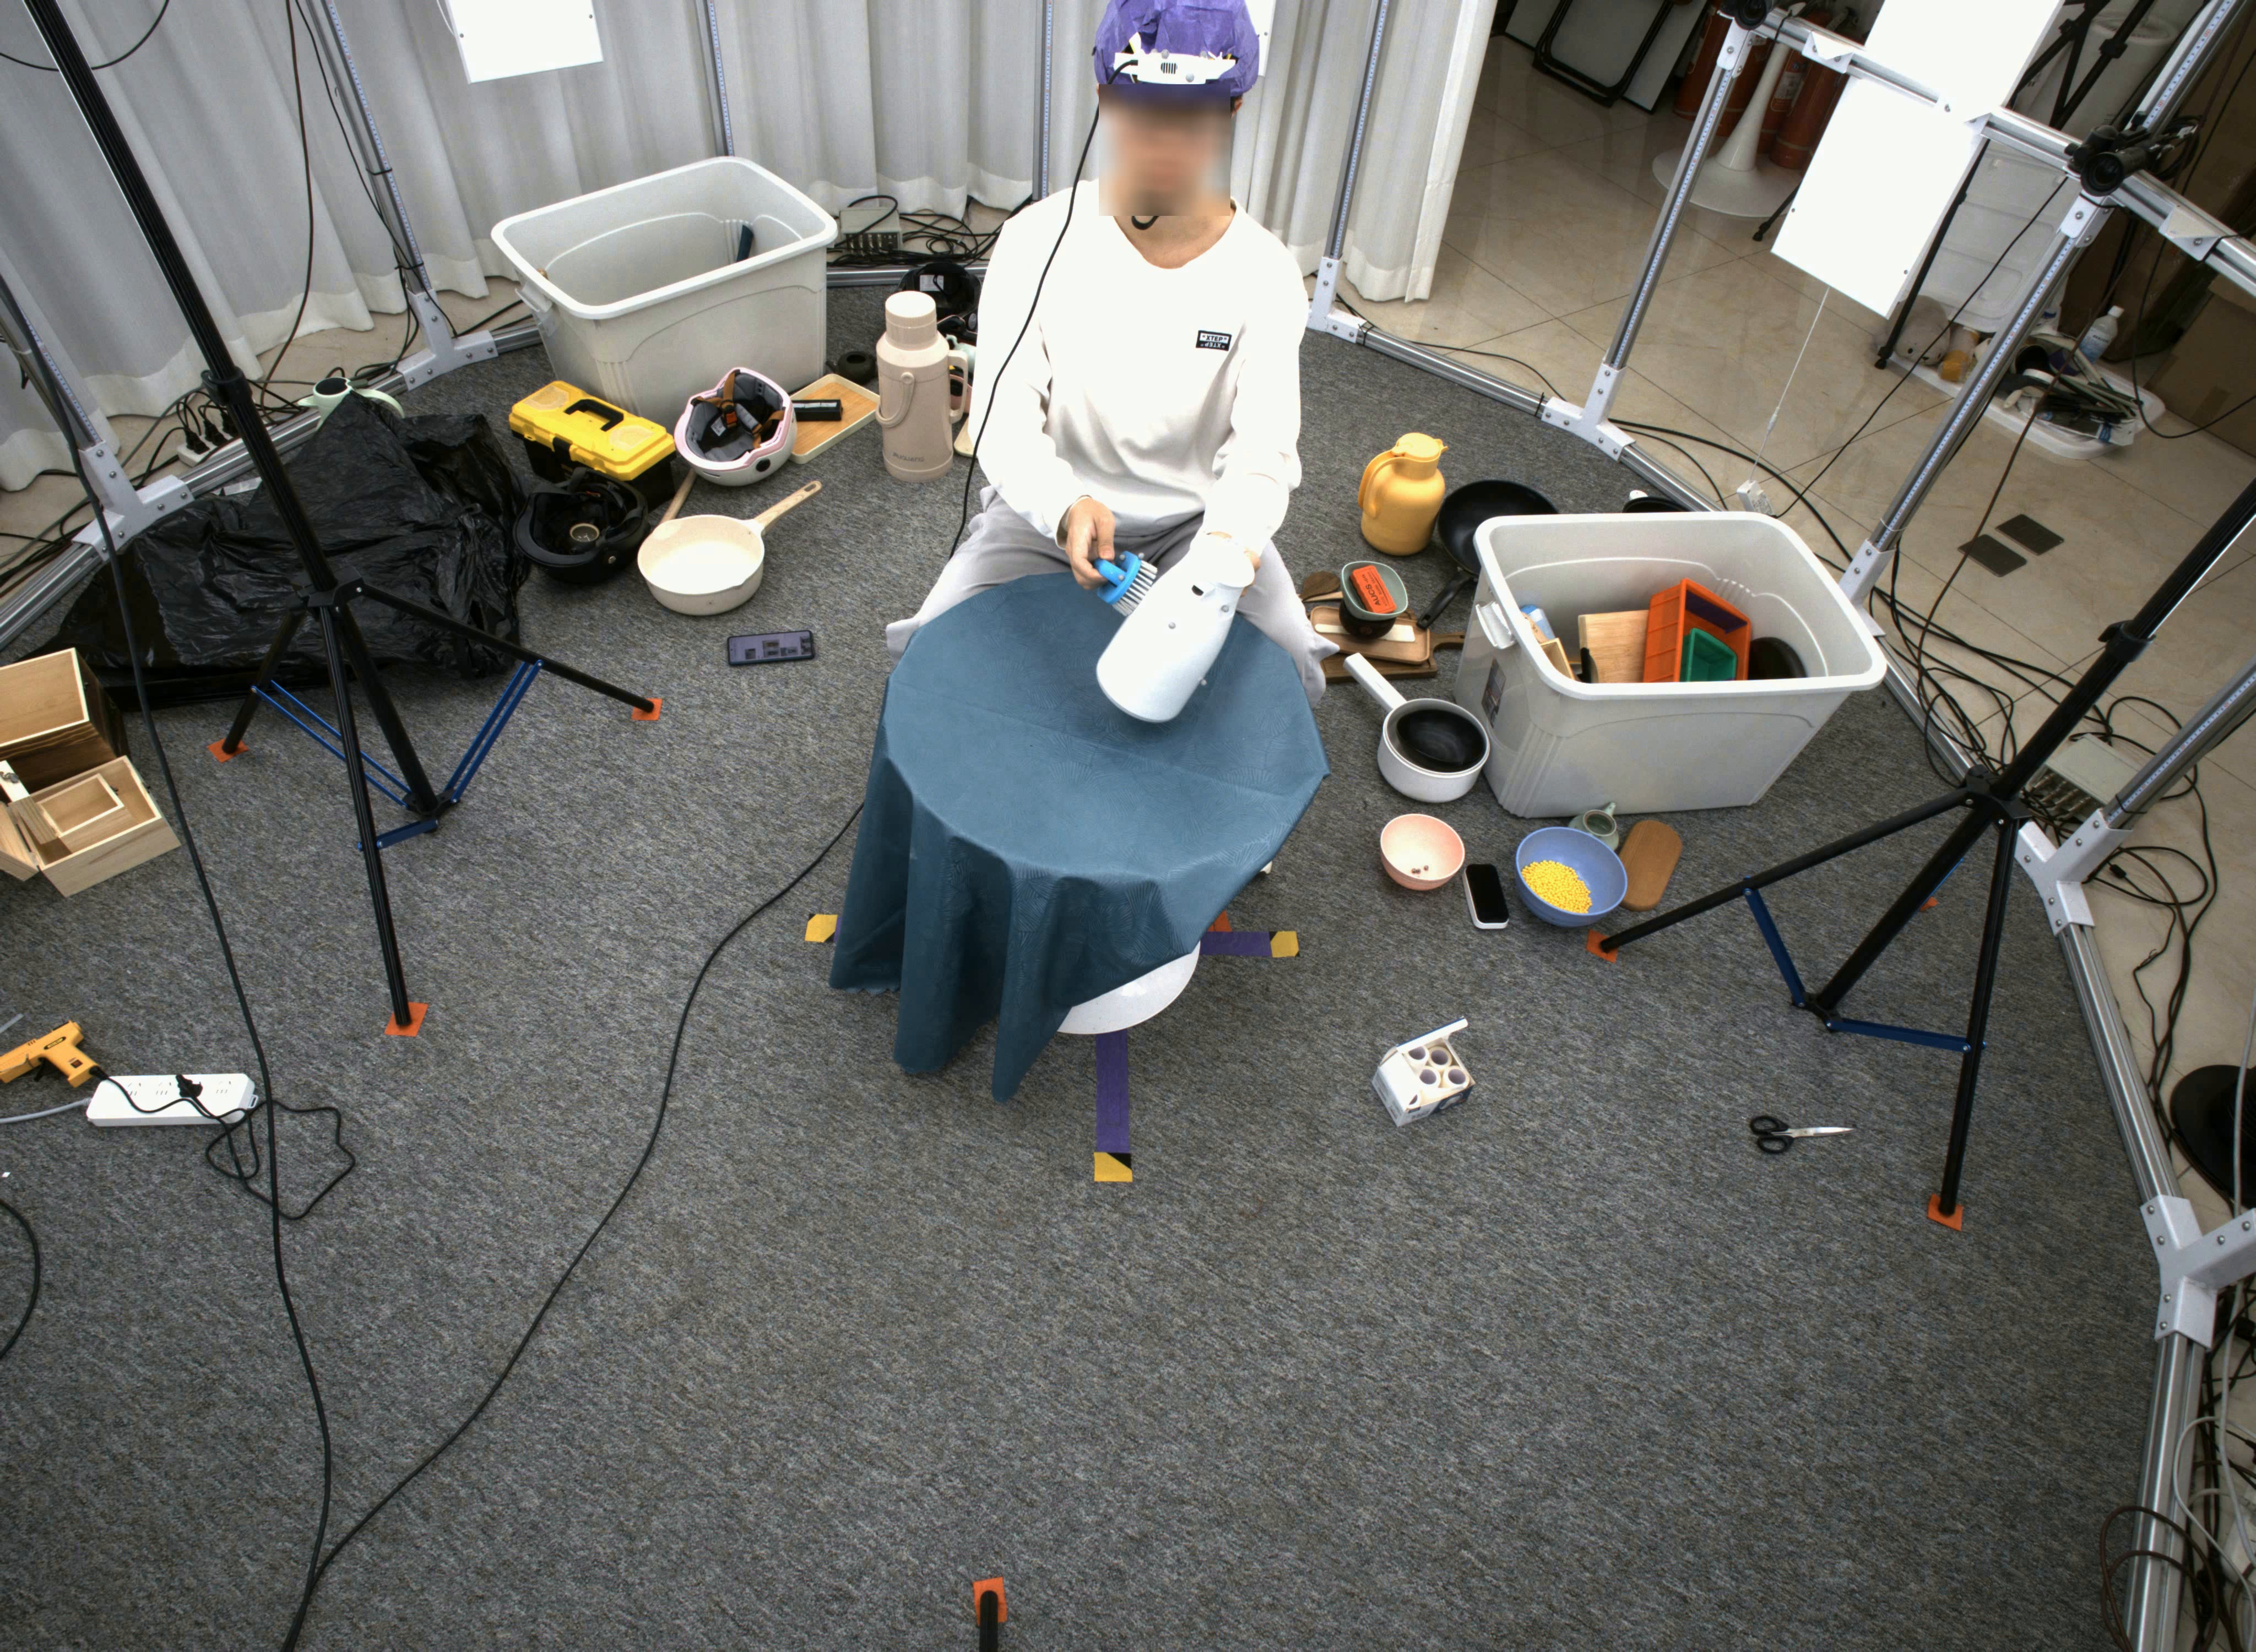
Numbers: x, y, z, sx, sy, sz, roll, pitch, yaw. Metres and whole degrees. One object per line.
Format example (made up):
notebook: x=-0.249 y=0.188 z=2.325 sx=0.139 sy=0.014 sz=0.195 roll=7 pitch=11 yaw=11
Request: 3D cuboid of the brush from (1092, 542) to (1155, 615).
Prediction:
brush: x=-0.014 y=-0.339 z=1.718 sx=0.063 sy=0.084 sz=0.144 roll=27 pitch=13 yaw=-16

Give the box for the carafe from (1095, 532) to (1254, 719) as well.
carafe: x=0.074 y=-0.280 z=1.701 sx=0.132 sy=0.244 sz=0.170 roll=36 pitch=41 yaw=0
